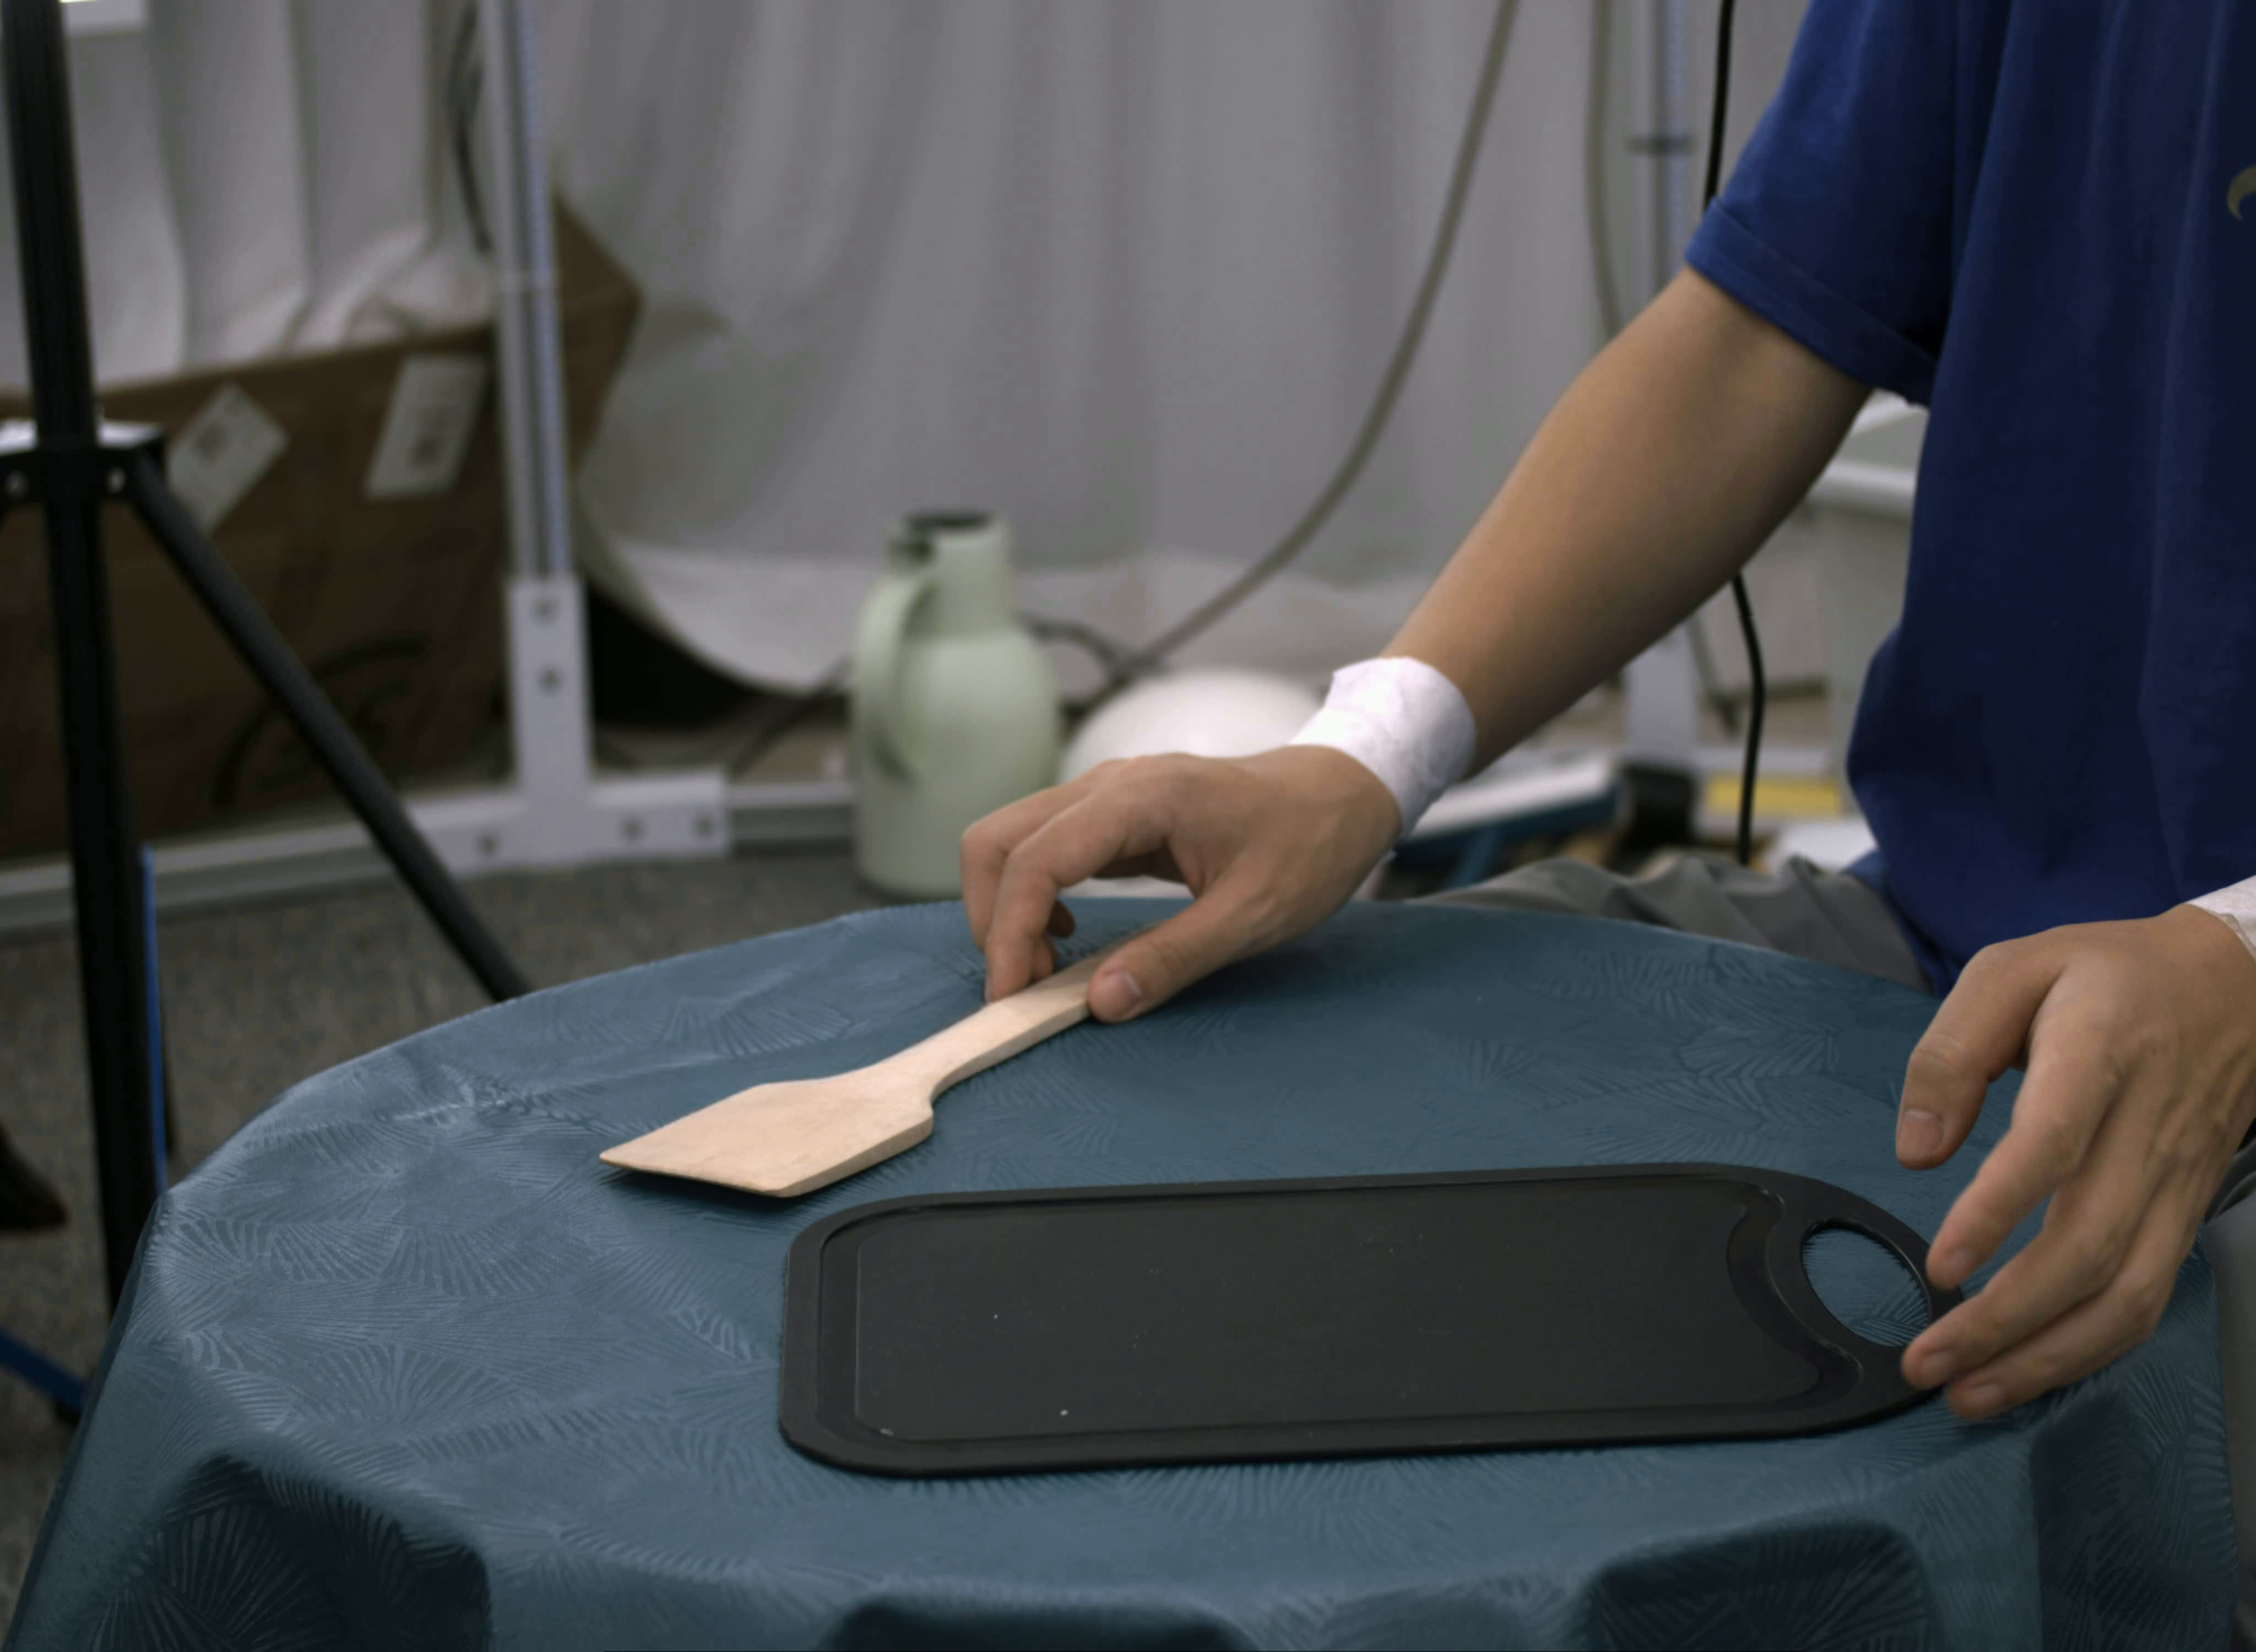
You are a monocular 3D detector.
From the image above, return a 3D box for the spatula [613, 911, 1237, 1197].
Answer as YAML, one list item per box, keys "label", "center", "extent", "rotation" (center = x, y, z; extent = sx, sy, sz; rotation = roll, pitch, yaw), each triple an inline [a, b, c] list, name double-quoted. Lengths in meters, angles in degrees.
- label: "spatula"
  center: [-0.050, 0.069, 1.686]
  extent: [0.073, 0.010, 0.287]
  rotation: [7, 19, 33]

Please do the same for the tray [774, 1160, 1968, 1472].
- label: "tray"
  center: [0.067, 0.130, 1.452]
  extent: [0.324, 0.010, 0.212]
  rotation: [-2, 16, 1]
